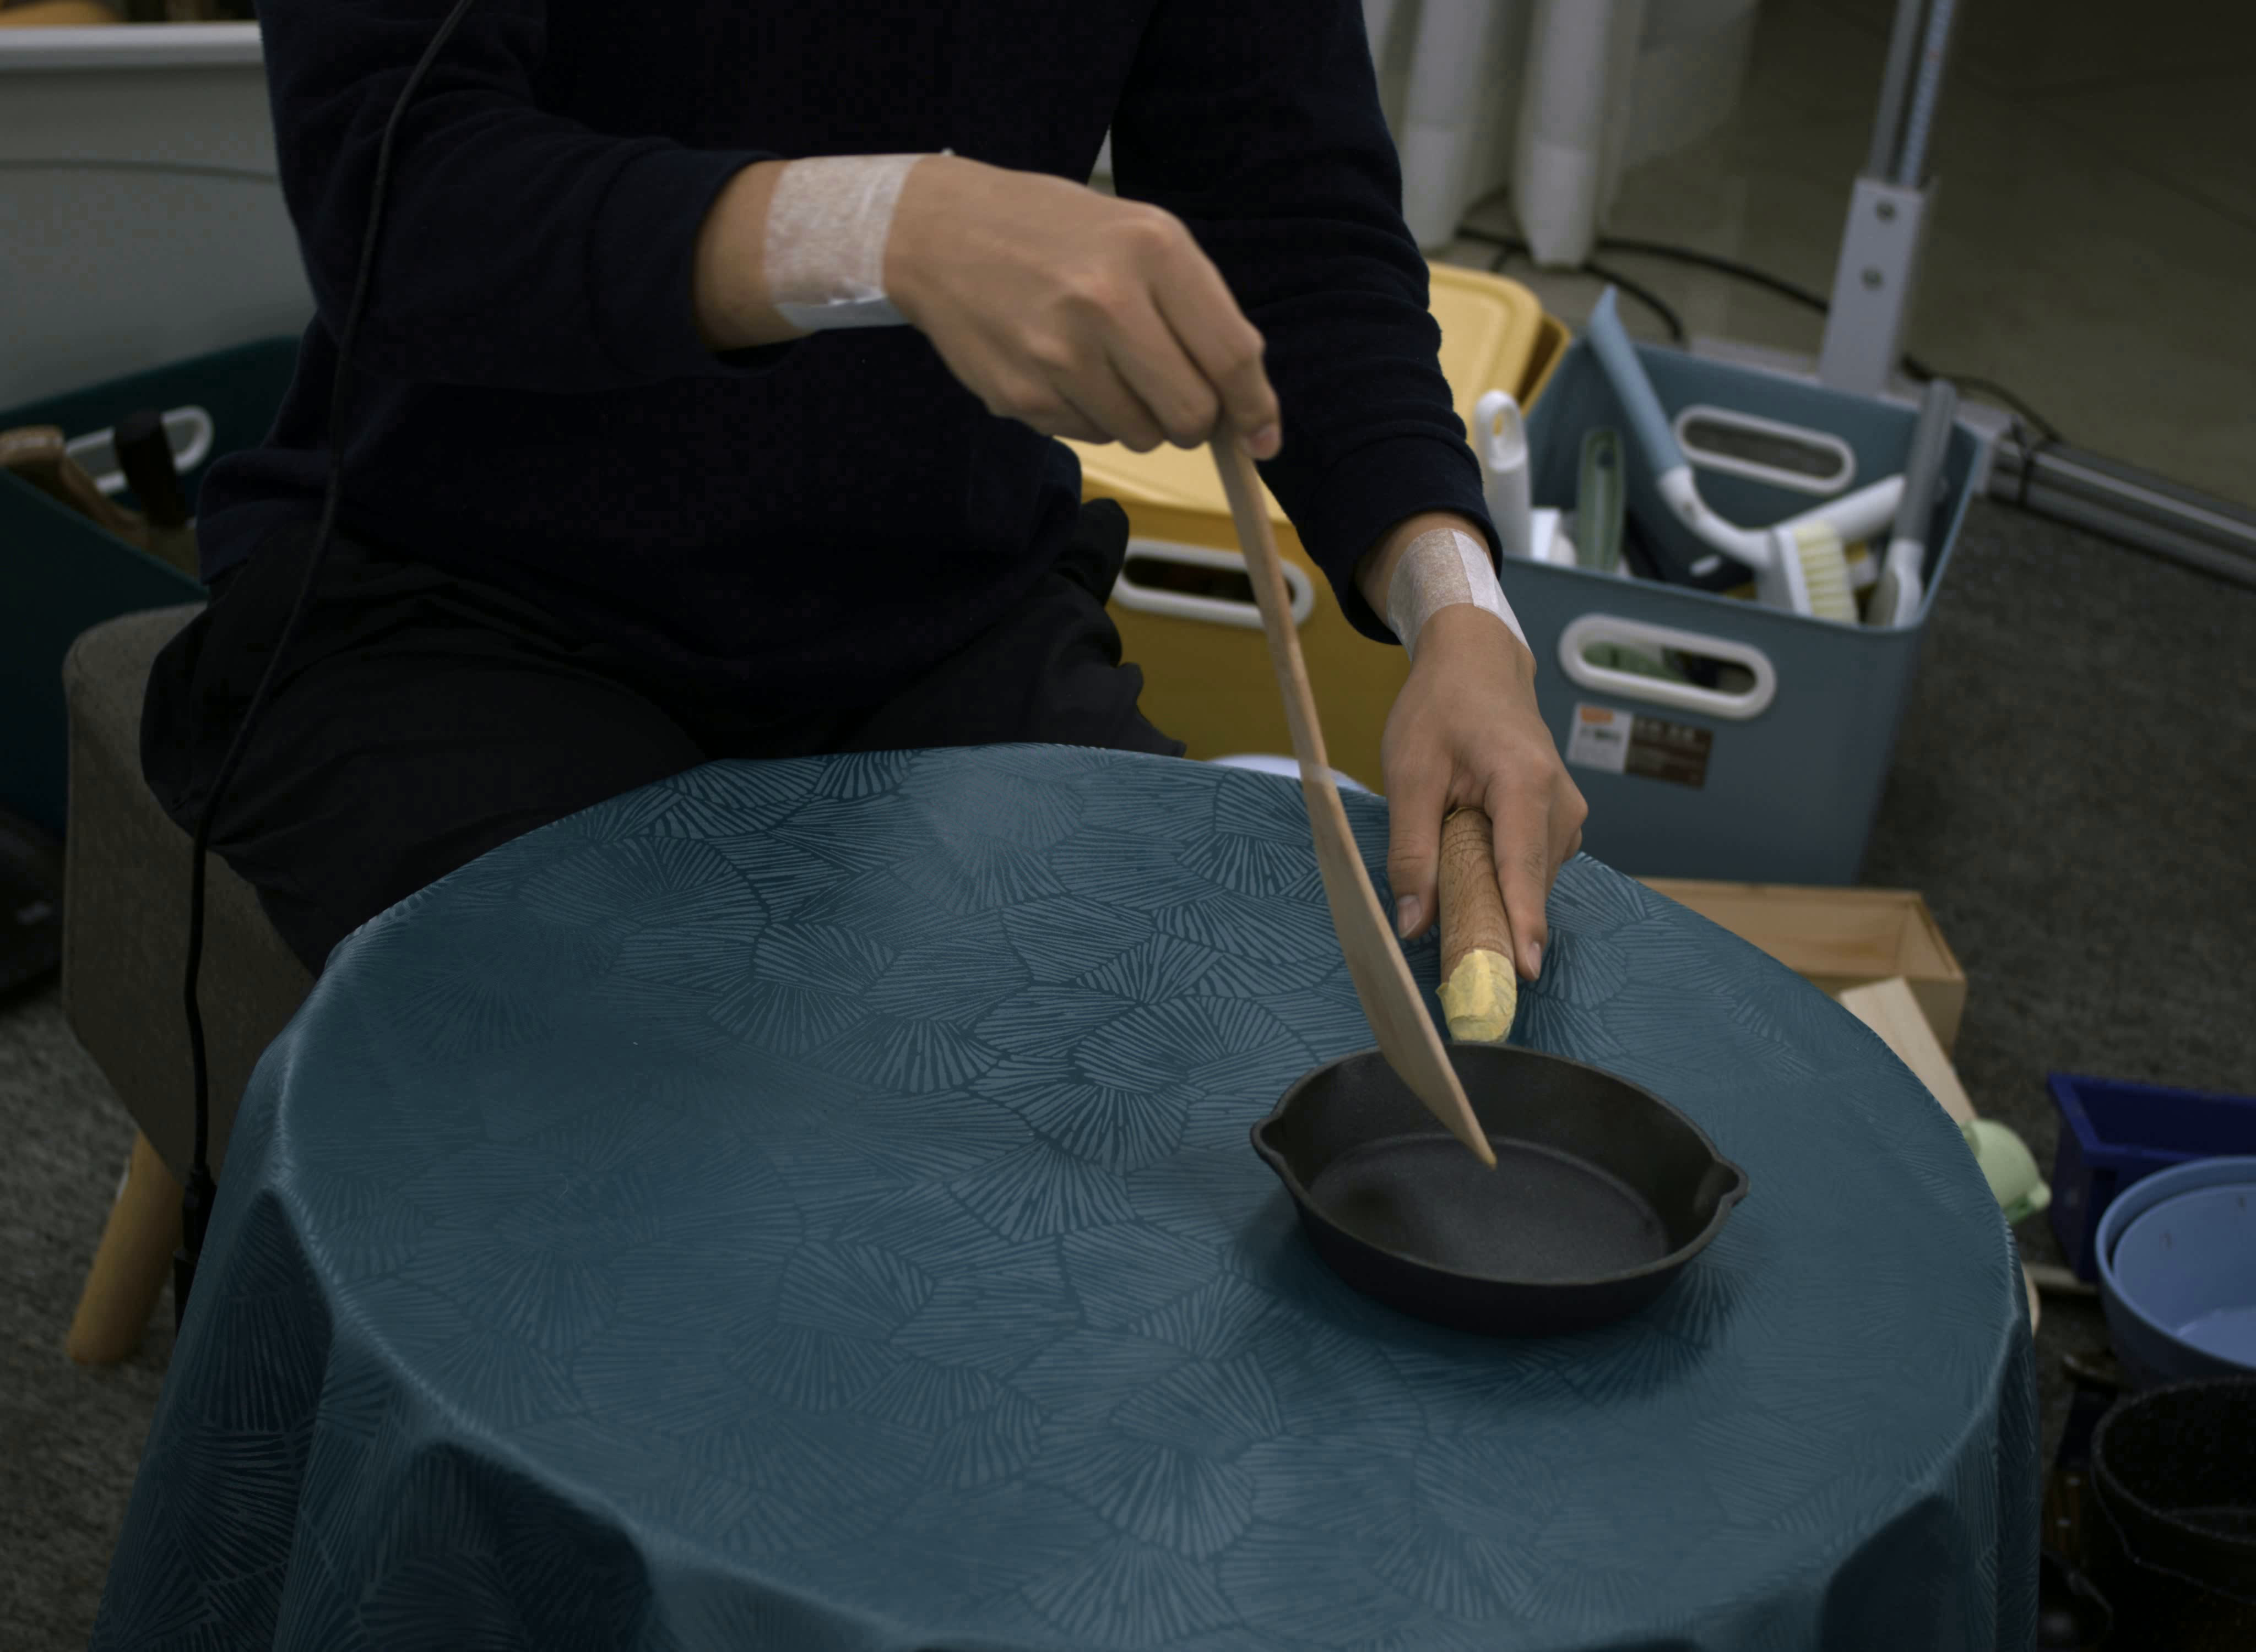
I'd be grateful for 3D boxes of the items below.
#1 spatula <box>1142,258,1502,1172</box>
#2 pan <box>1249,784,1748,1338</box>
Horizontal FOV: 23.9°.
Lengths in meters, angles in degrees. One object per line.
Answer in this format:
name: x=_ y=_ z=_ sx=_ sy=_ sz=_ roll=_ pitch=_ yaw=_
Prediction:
spatula: x=0.059 y=-0.035 z=1.739 sx=0.016 sy=0.326 sz=0.080 roll=-23 pitch=21 yaw=-13
pan: x=0.127 y=0.079 z=1.864 sx=0.168 sy=0.049 sz=0.326 roll=6 pitch=29 yaw=0
